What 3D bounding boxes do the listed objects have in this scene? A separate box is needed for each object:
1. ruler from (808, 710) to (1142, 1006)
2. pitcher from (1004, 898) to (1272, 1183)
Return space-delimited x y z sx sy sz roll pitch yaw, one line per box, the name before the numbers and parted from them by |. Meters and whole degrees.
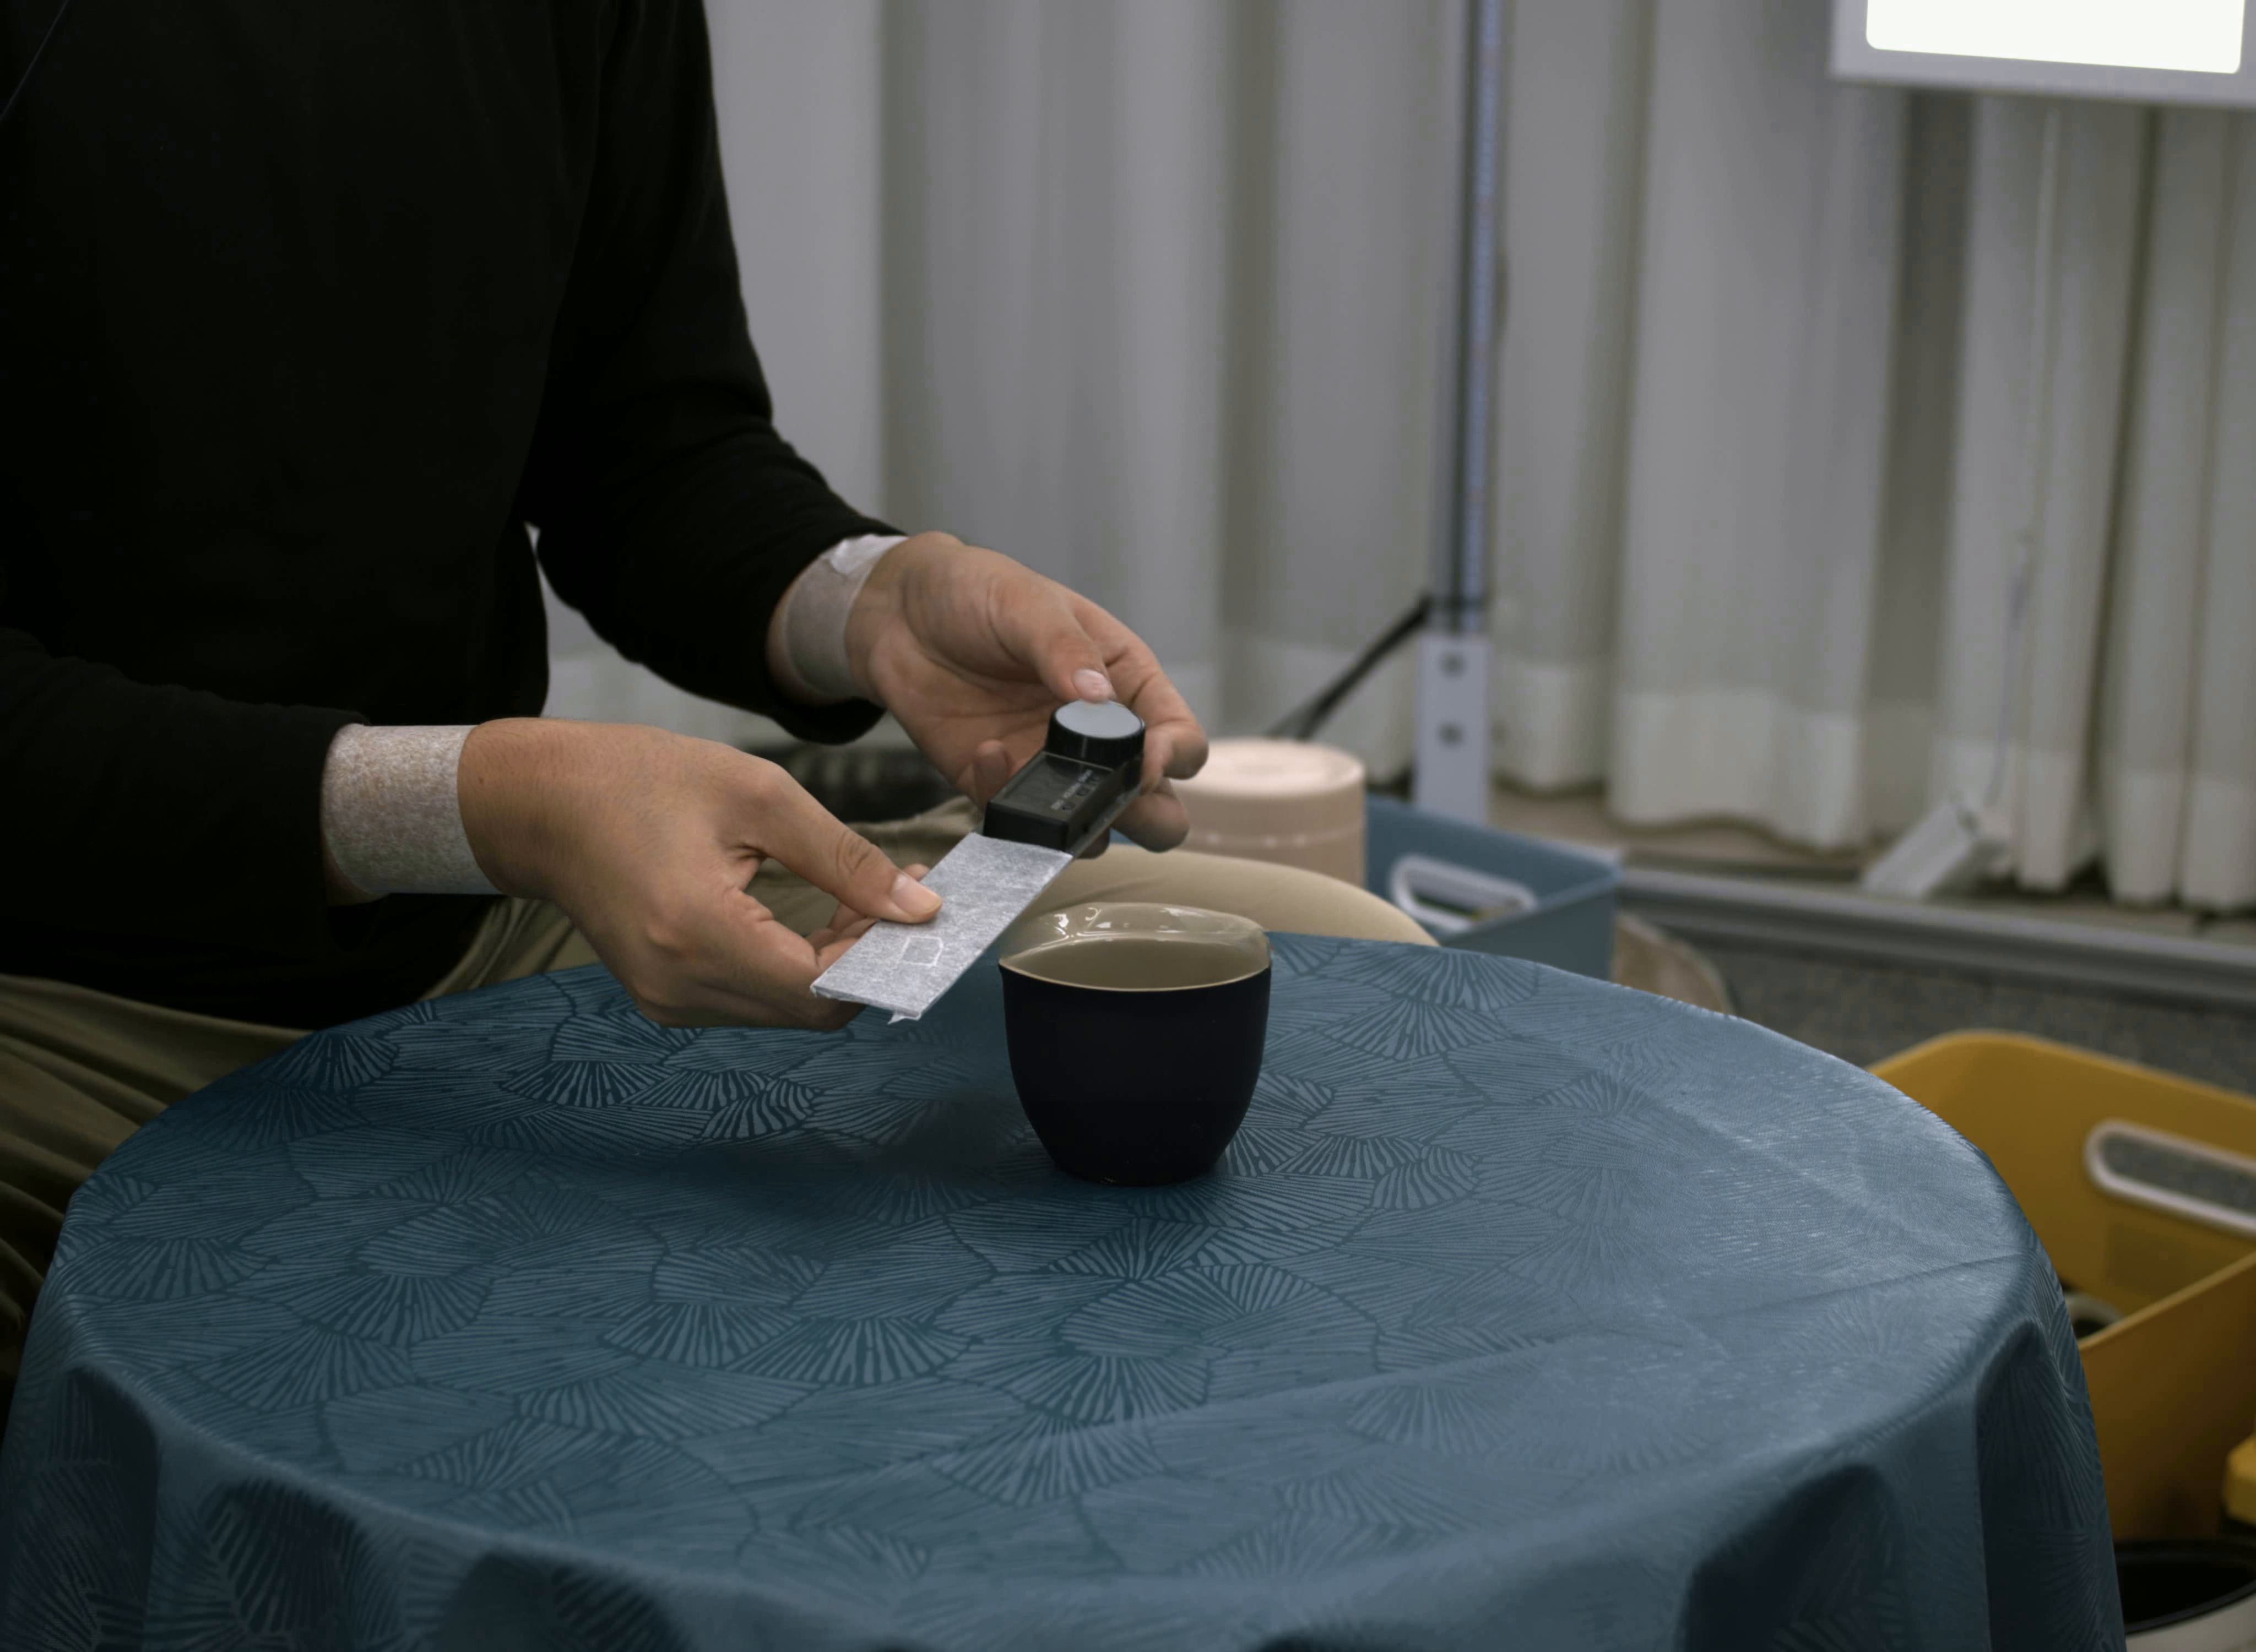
ruler | -0.043 0.007 1.659 0.038 0.024 0.218 7 21 18
pitcher | 0.000 0.068 1.642 0.084 0.072 0.095 -9 19 -28
